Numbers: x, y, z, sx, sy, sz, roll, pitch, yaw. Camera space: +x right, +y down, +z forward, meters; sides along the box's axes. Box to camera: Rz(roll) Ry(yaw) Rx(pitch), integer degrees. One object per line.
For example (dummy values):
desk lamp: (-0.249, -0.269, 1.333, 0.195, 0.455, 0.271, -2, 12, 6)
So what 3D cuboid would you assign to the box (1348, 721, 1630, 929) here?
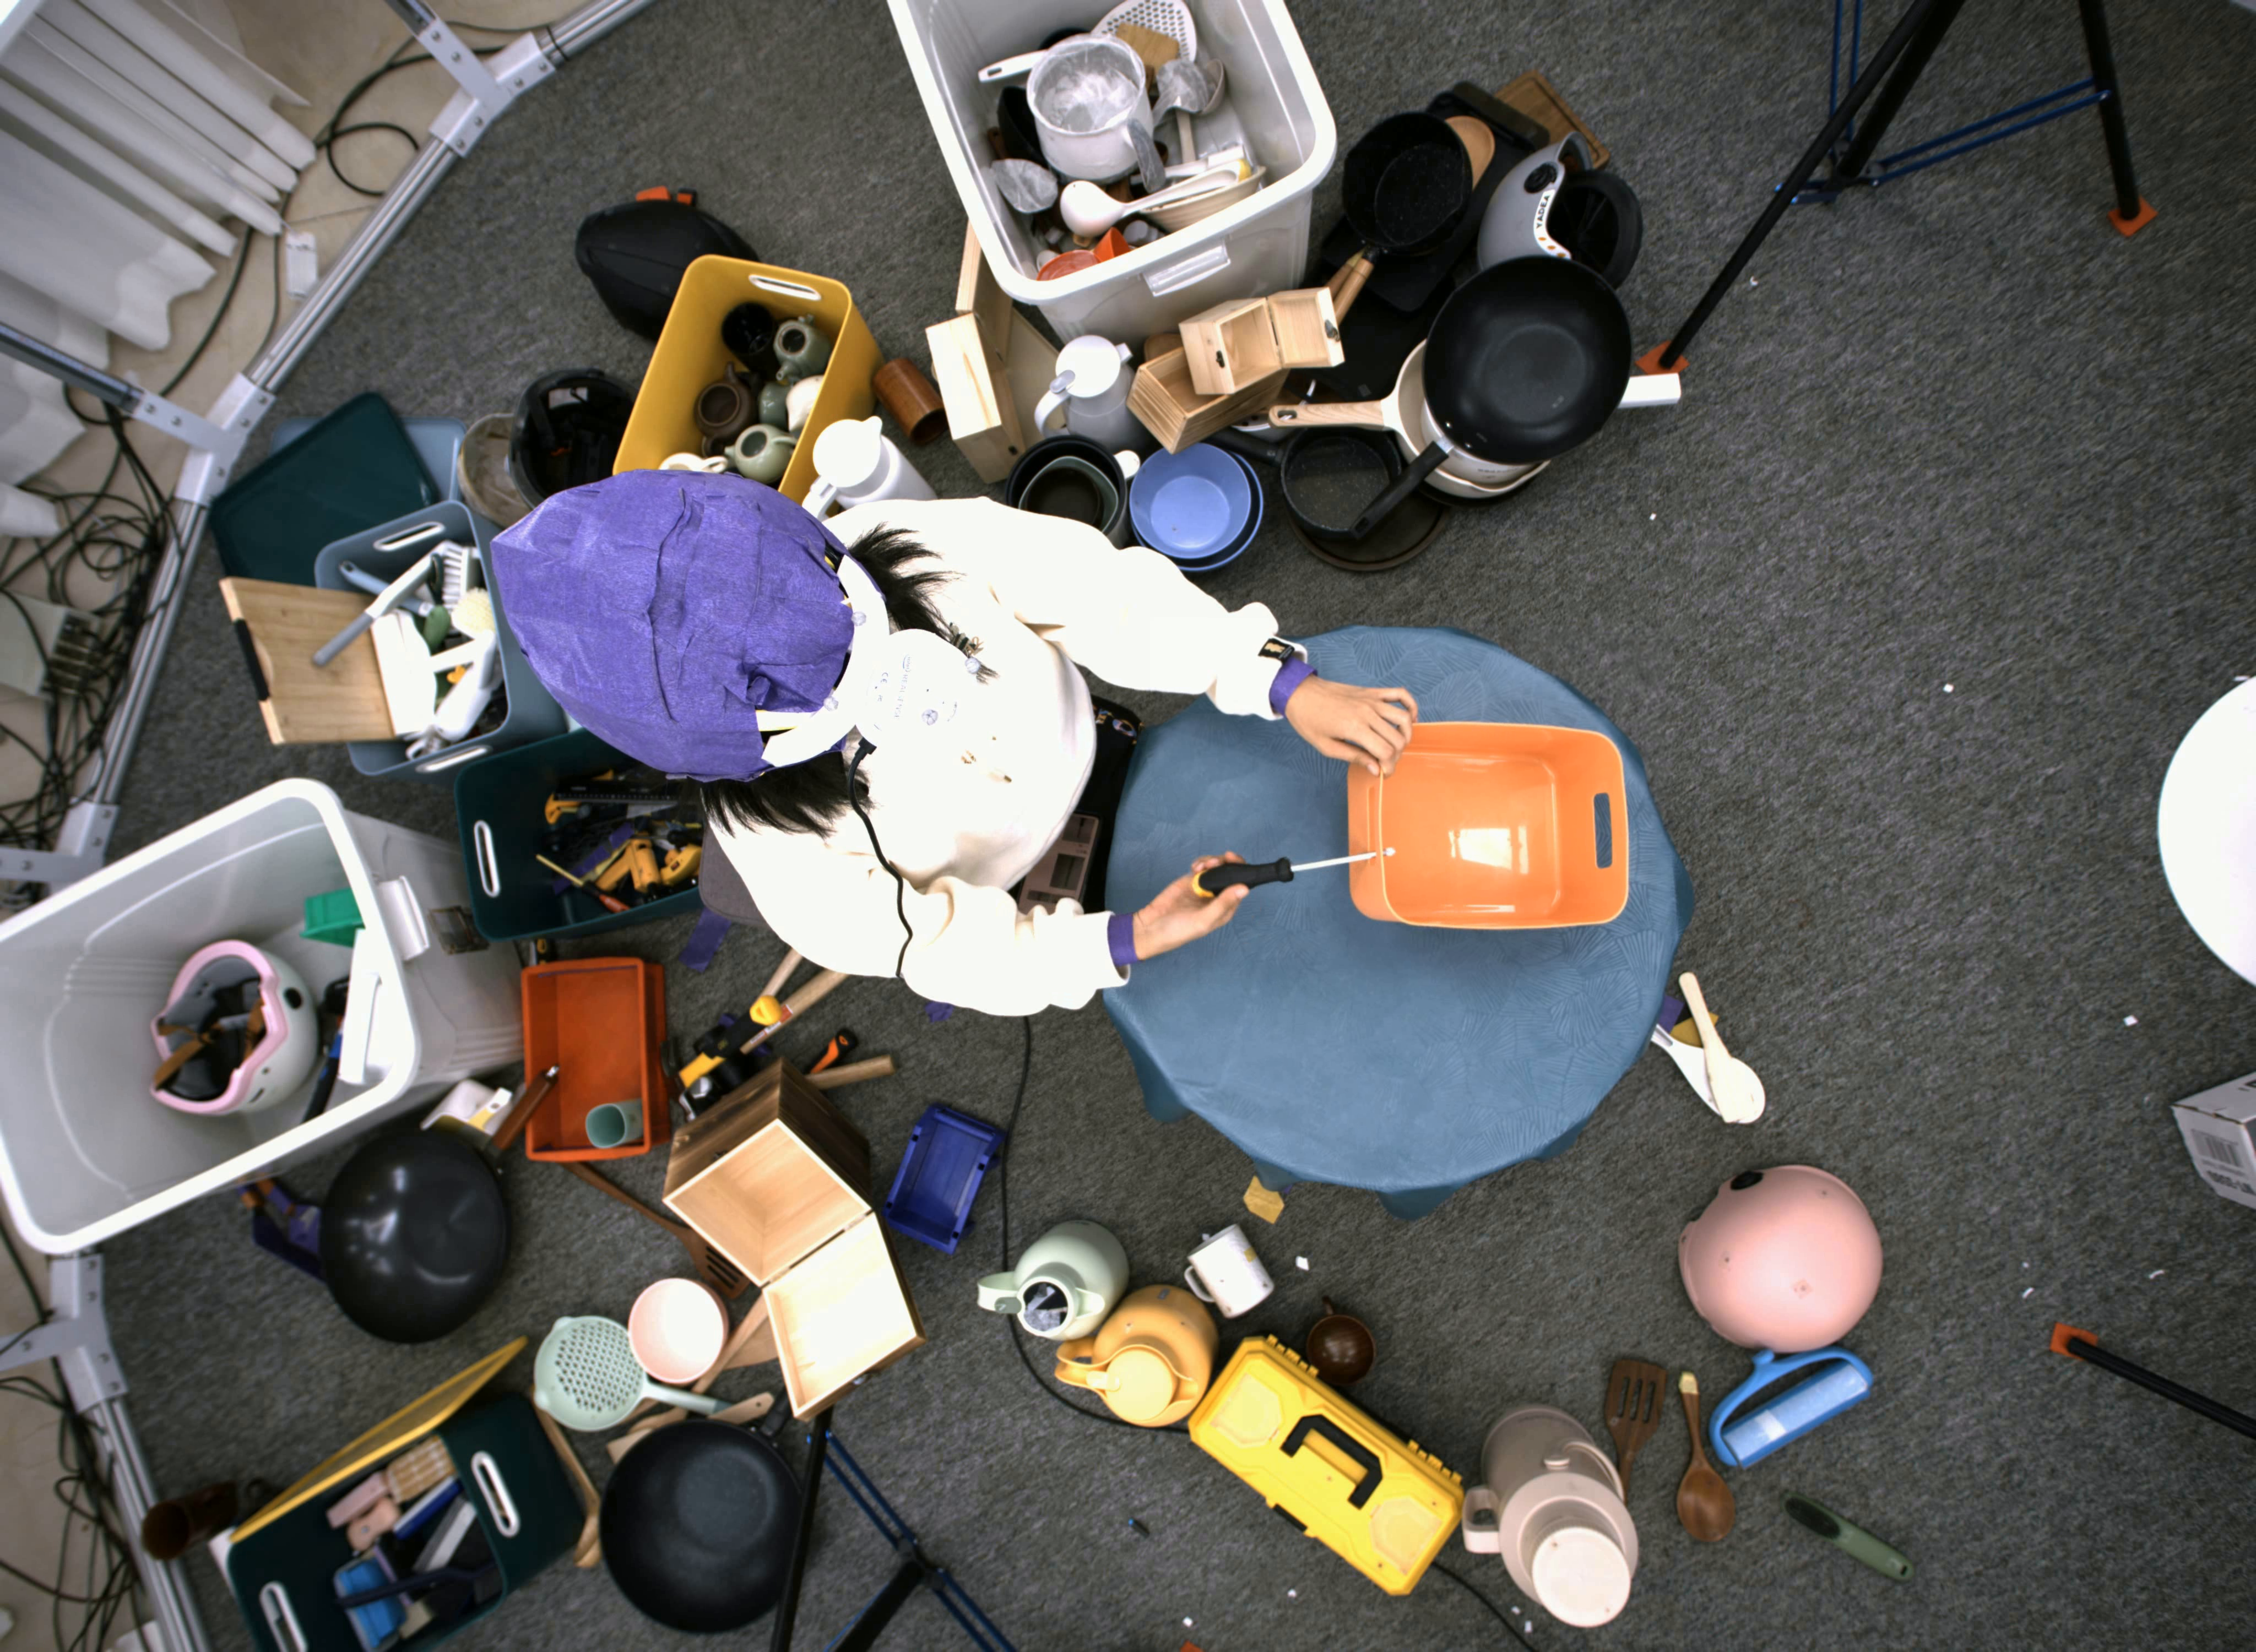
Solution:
box: (0.347, 0.001, 1.351, 0.272, 0.103, 0.198, 0, 87, -17)

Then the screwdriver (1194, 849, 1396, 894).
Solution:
screwdriver: (0.158, 0.035, 1.325, 0.198, 0.031, 0.031, -13, 83, 16)
